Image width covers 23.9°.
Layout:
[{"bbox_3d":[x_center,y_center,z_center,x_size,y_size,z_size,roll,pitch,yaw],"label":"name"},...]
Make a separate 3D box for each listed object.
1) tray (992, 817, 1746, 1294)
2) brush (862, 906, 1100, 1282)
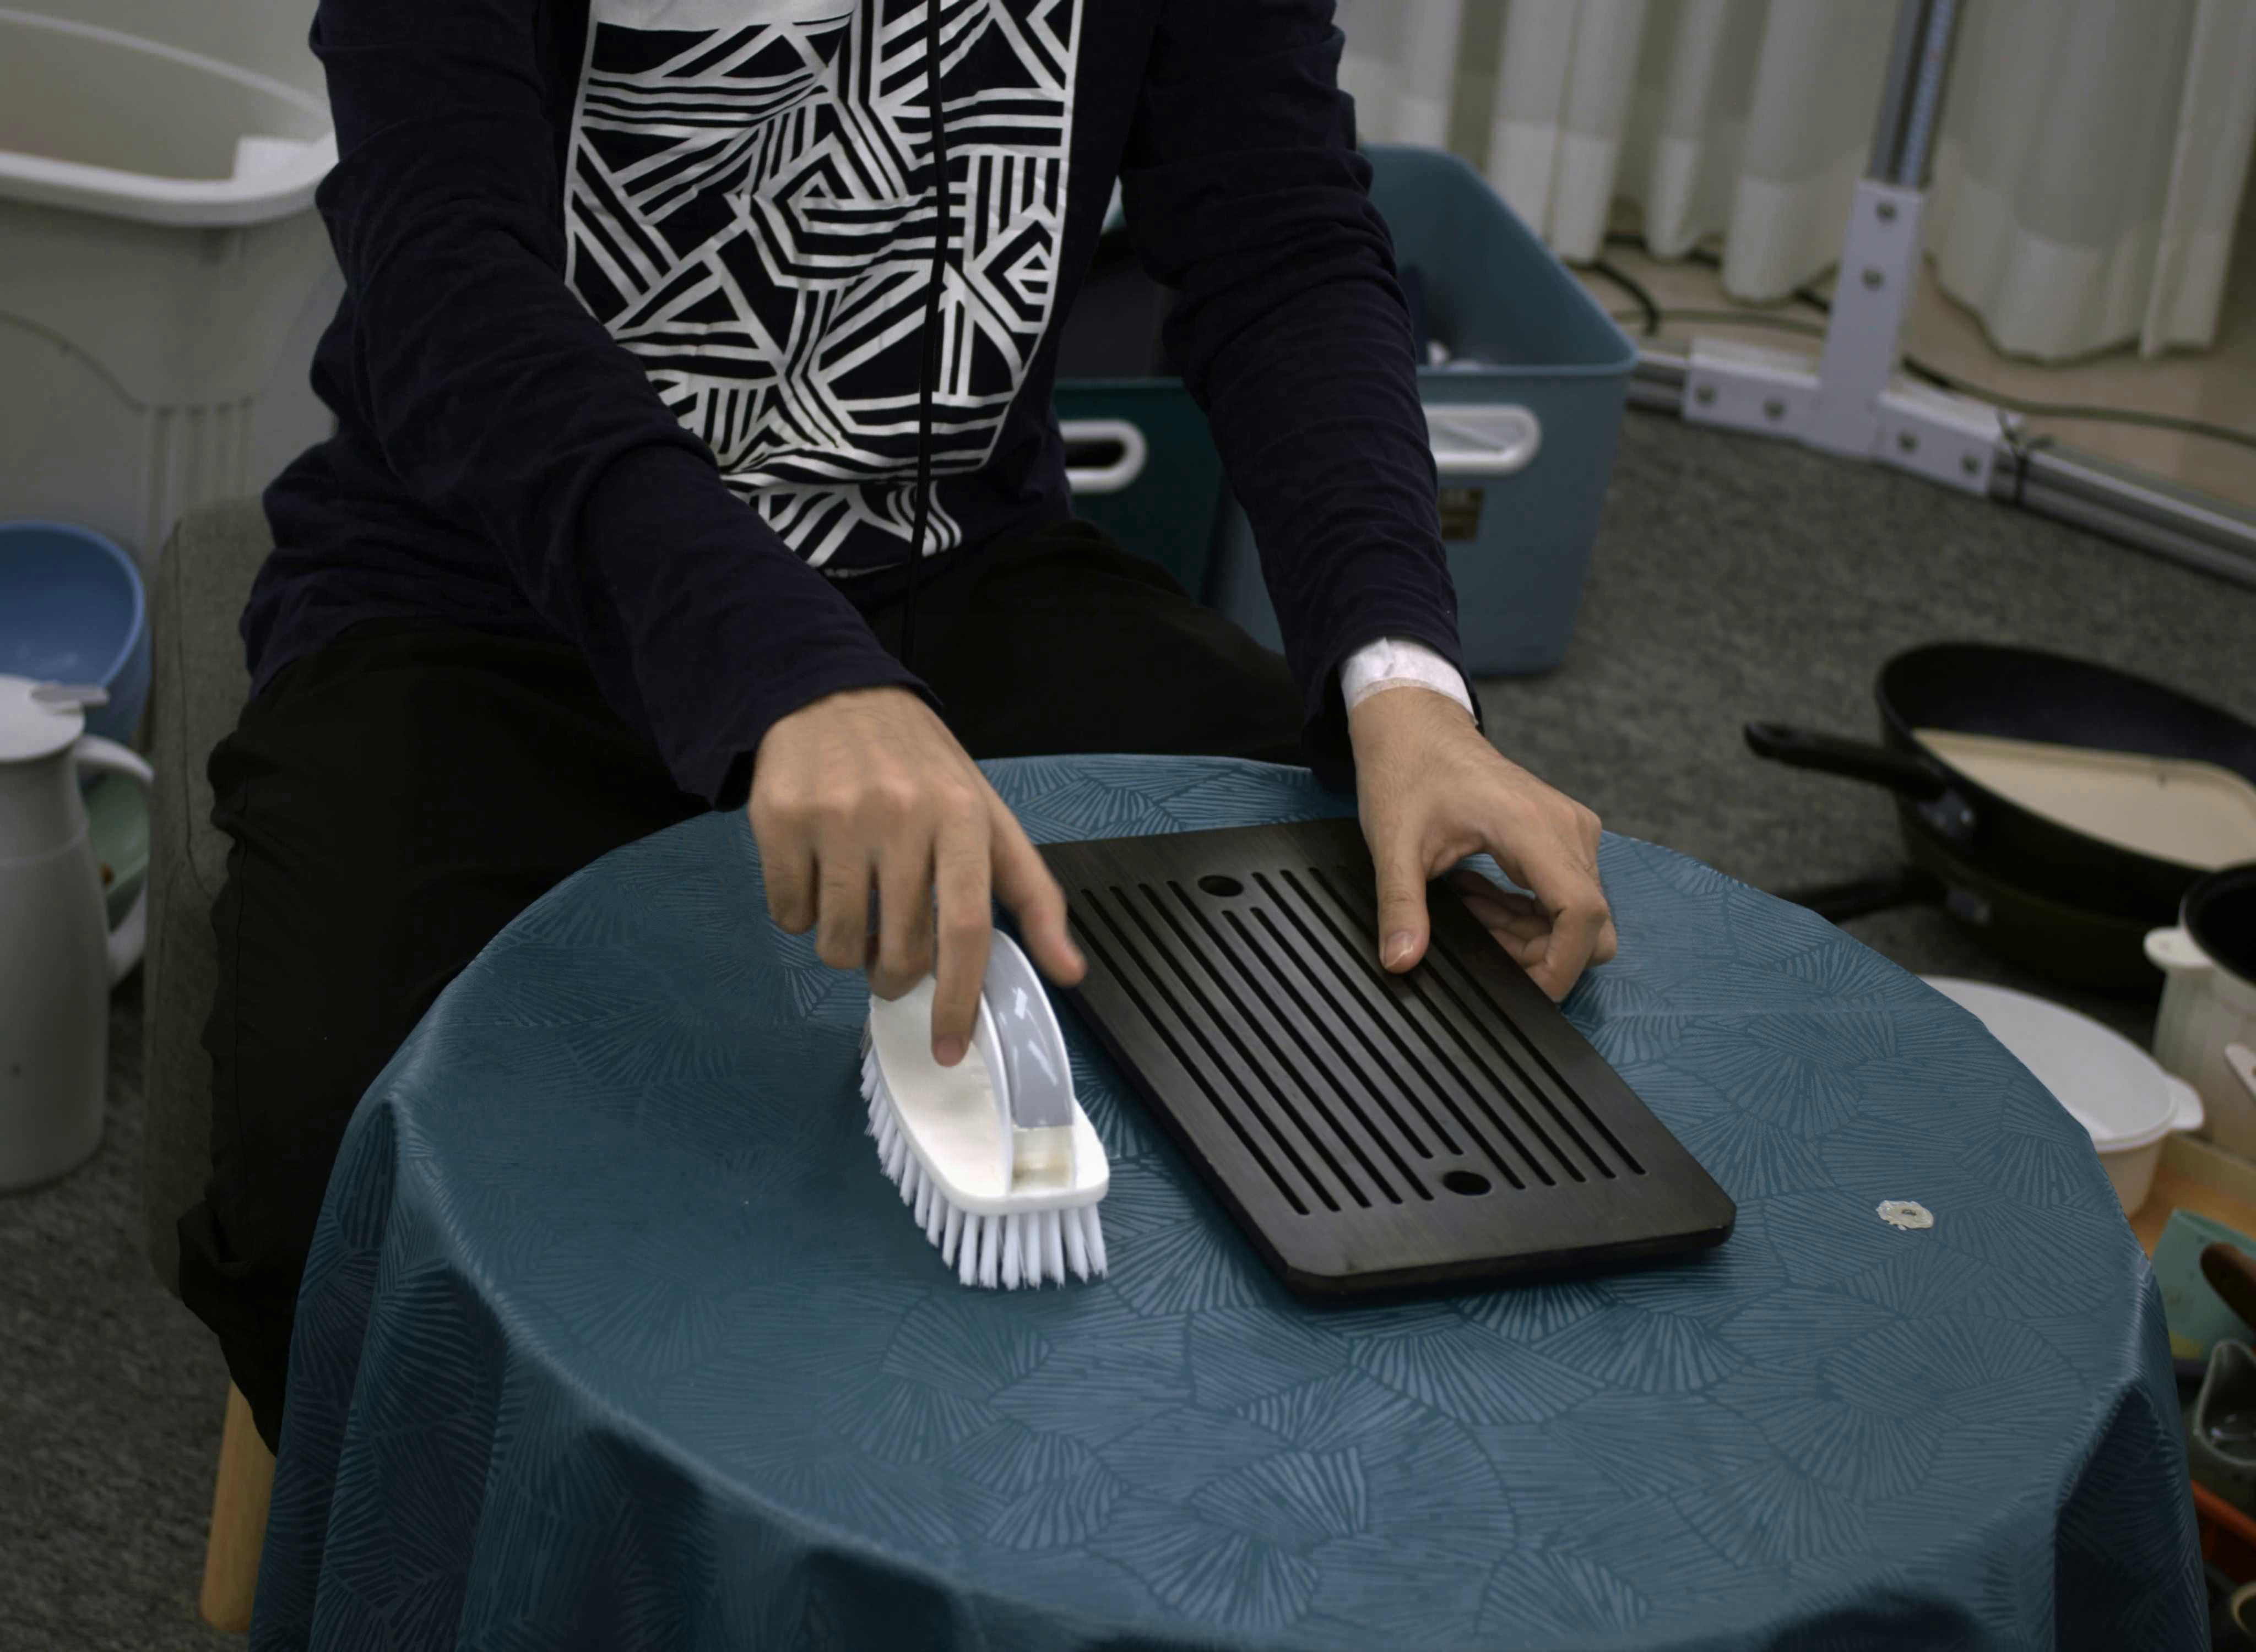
[{"bbox_3d":[0.079,0.079,1.893,0.169,0.018,0.309,-5,29,-22],"label":"tray"},{"bbox_3d":[-0.057,0.074,1.794,0.061,0.094,0.177,-6,28,-17],"label":"brush"}]
